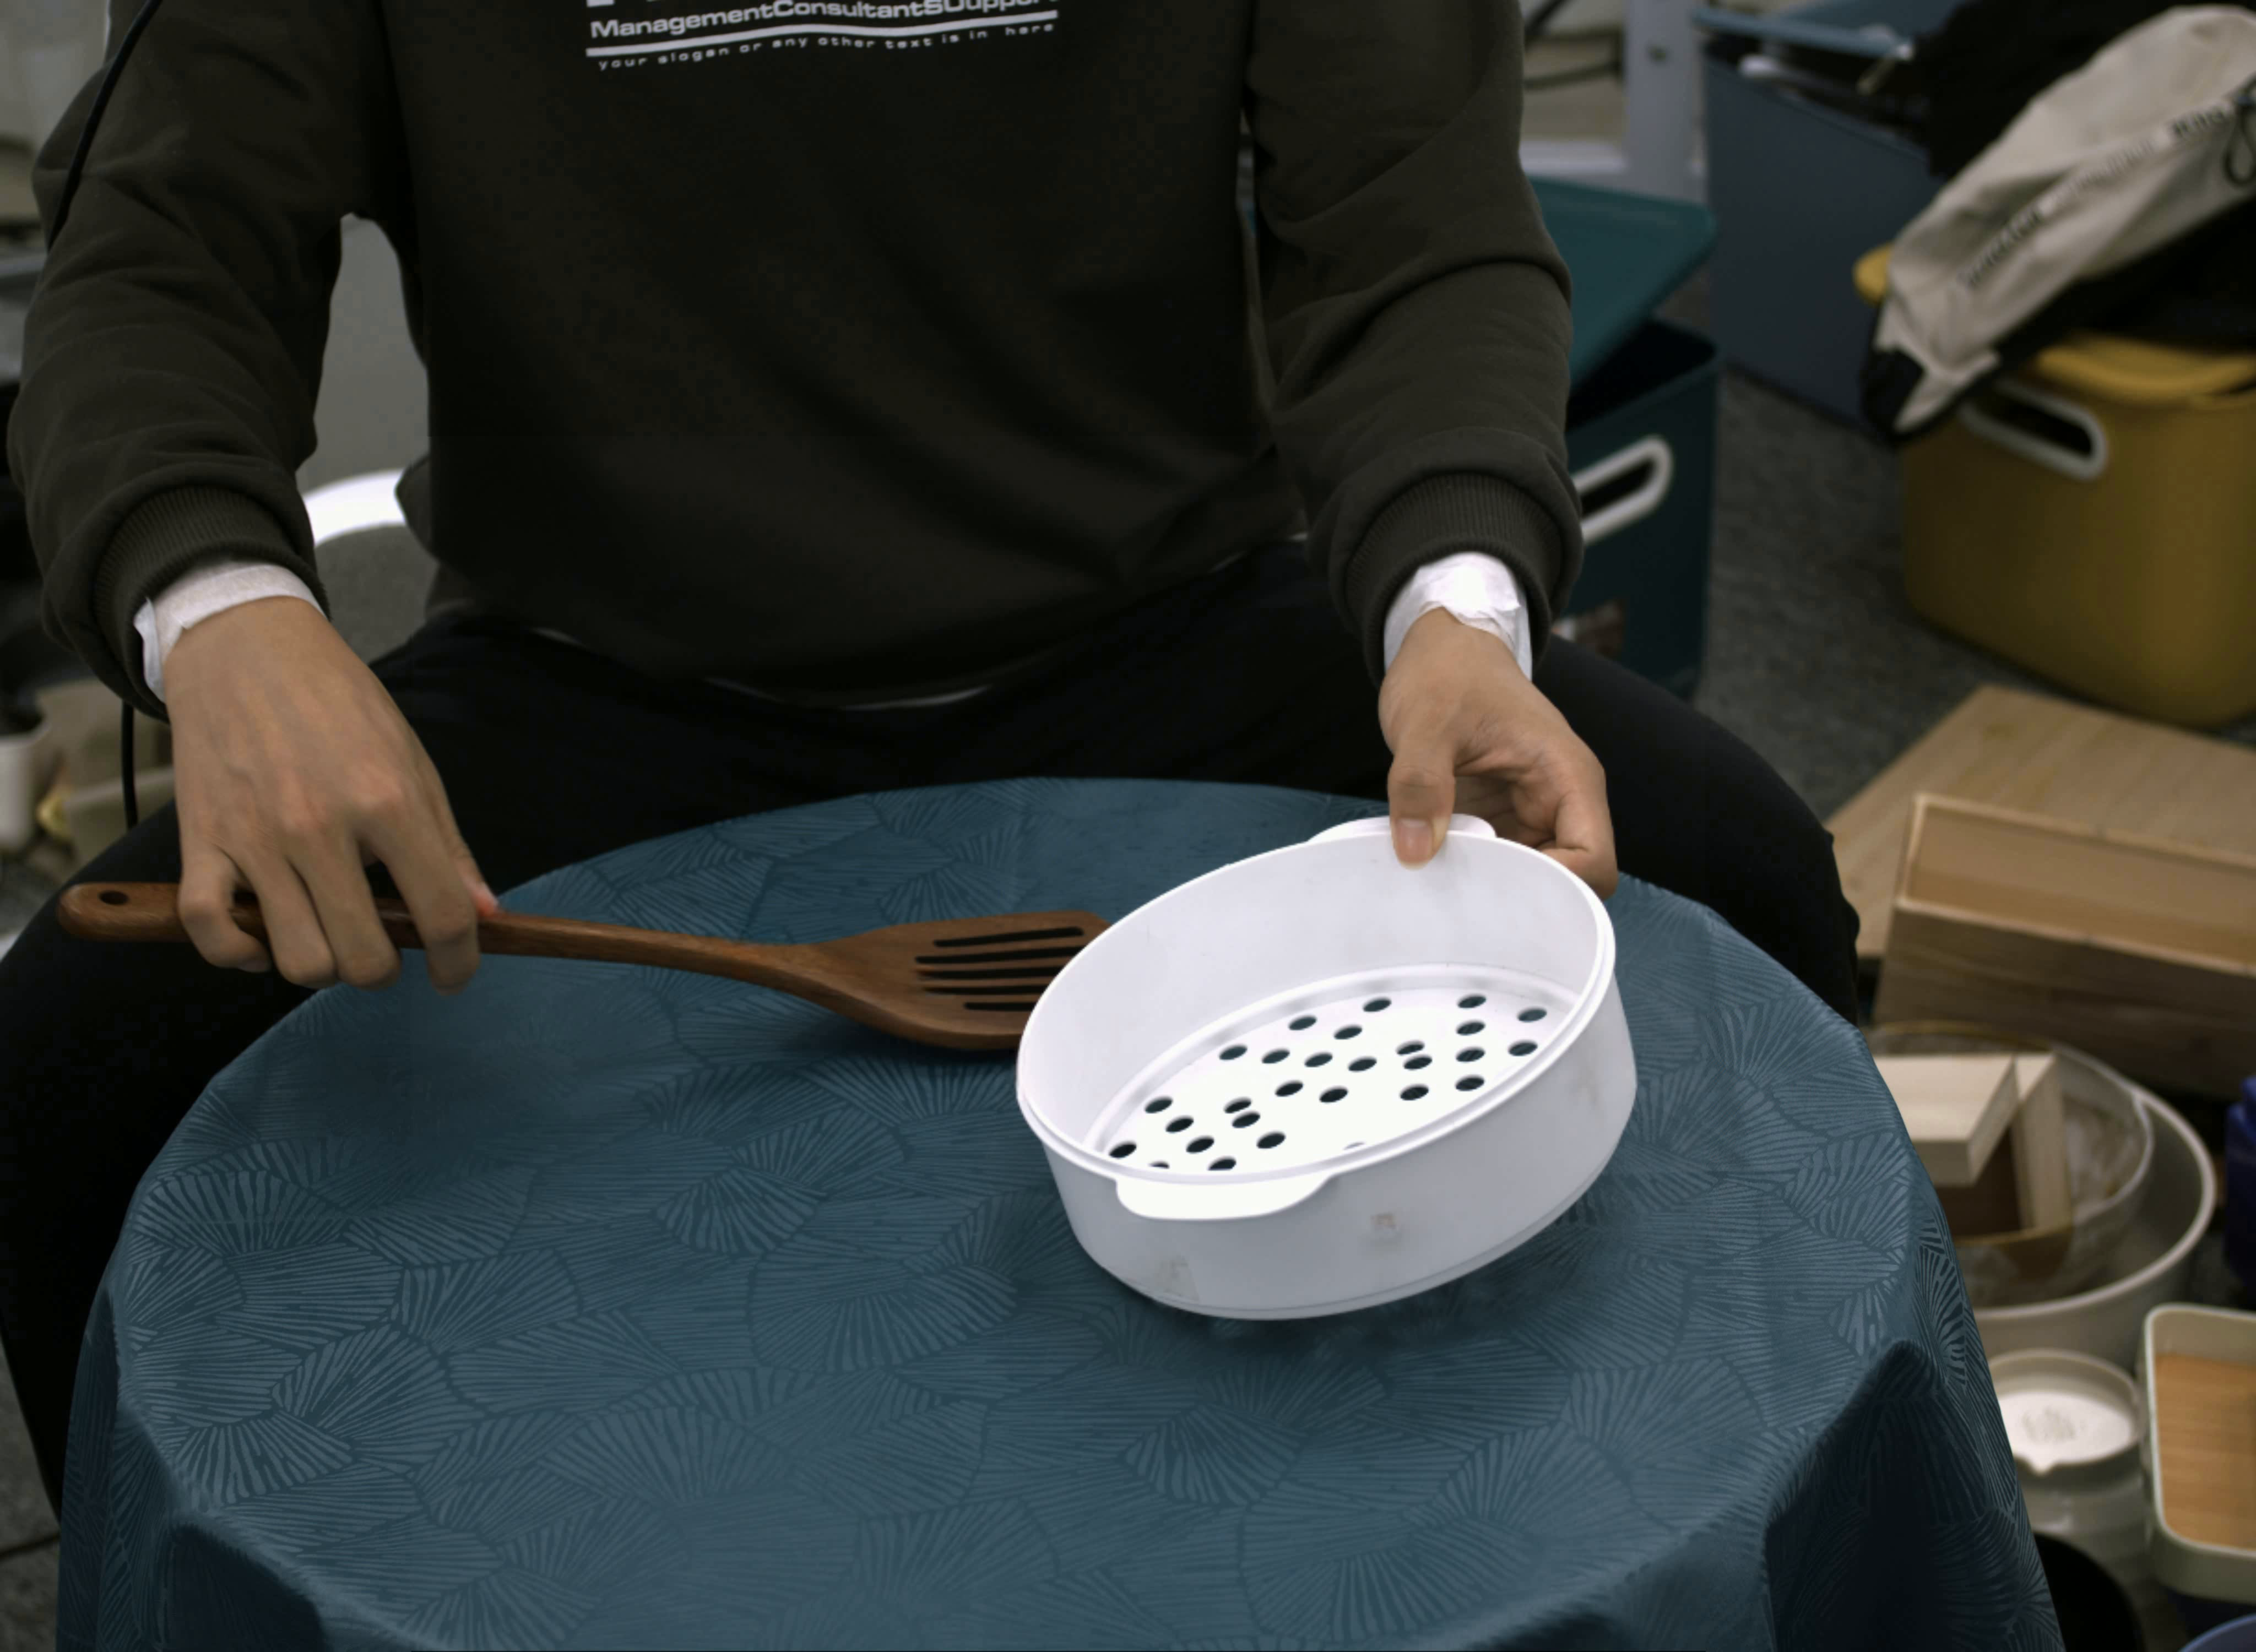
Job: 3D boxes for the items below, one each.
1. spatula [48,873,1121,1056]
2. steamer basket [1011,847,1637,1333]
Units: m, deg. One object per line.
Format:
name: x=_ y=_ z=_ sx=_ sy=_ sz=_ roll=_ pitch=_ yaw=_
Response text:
spatula: x=-0.176 y=0.044 z=1.919 sx=0.385 sy=0.023 sz=0.087 roll=6 pitch=27 yaw=-22
steamer basket: x=0.066 y=0.087 z=1.826 sx=0.200 sy=0.068 sz=0.235 roll=-1 pitch=28 yaw=23
